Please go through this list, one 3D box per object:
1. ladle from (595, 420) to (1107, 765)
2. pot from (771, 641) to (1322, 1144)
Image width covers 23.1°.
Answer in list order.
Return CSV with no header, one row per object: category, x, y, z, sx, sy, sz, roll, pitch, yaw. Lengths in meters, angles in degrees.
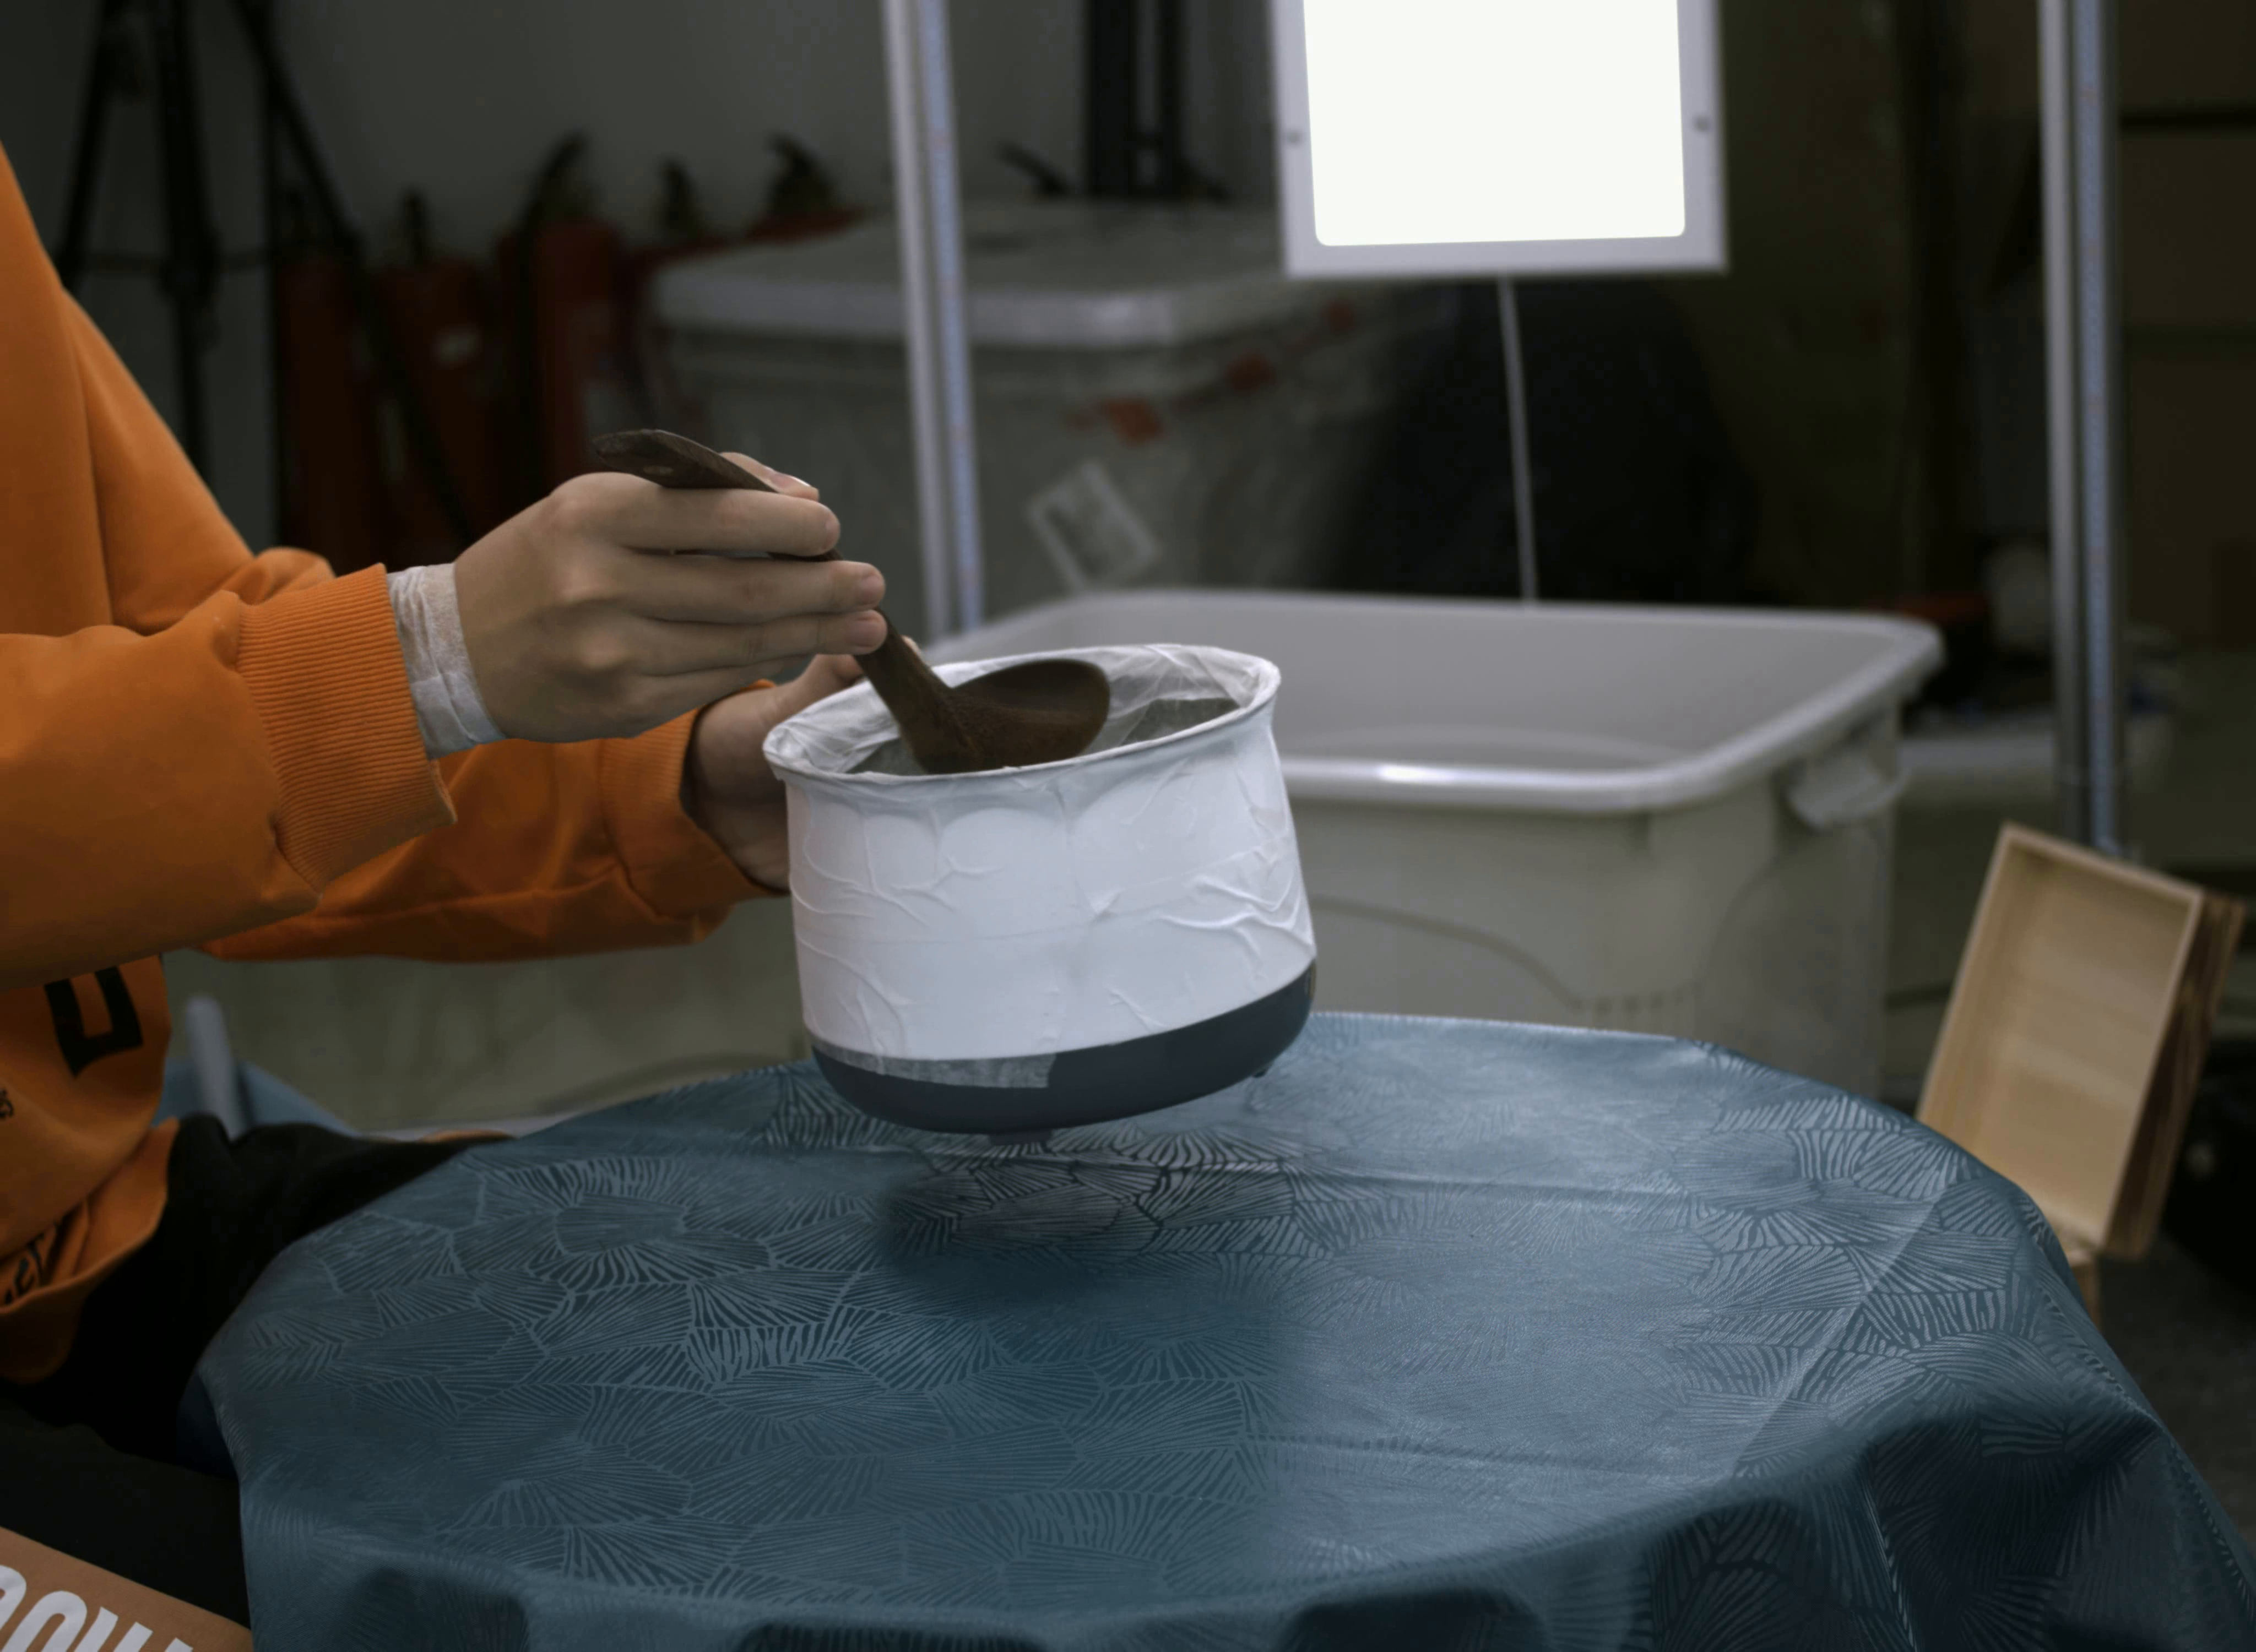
ladle,-0.091,-0.087,1.799,0.077,0.071,0.270,-9,-32,26
pot,-0.041,0.017,1.892,0.175,0.137,0.238,-16,16,-29
